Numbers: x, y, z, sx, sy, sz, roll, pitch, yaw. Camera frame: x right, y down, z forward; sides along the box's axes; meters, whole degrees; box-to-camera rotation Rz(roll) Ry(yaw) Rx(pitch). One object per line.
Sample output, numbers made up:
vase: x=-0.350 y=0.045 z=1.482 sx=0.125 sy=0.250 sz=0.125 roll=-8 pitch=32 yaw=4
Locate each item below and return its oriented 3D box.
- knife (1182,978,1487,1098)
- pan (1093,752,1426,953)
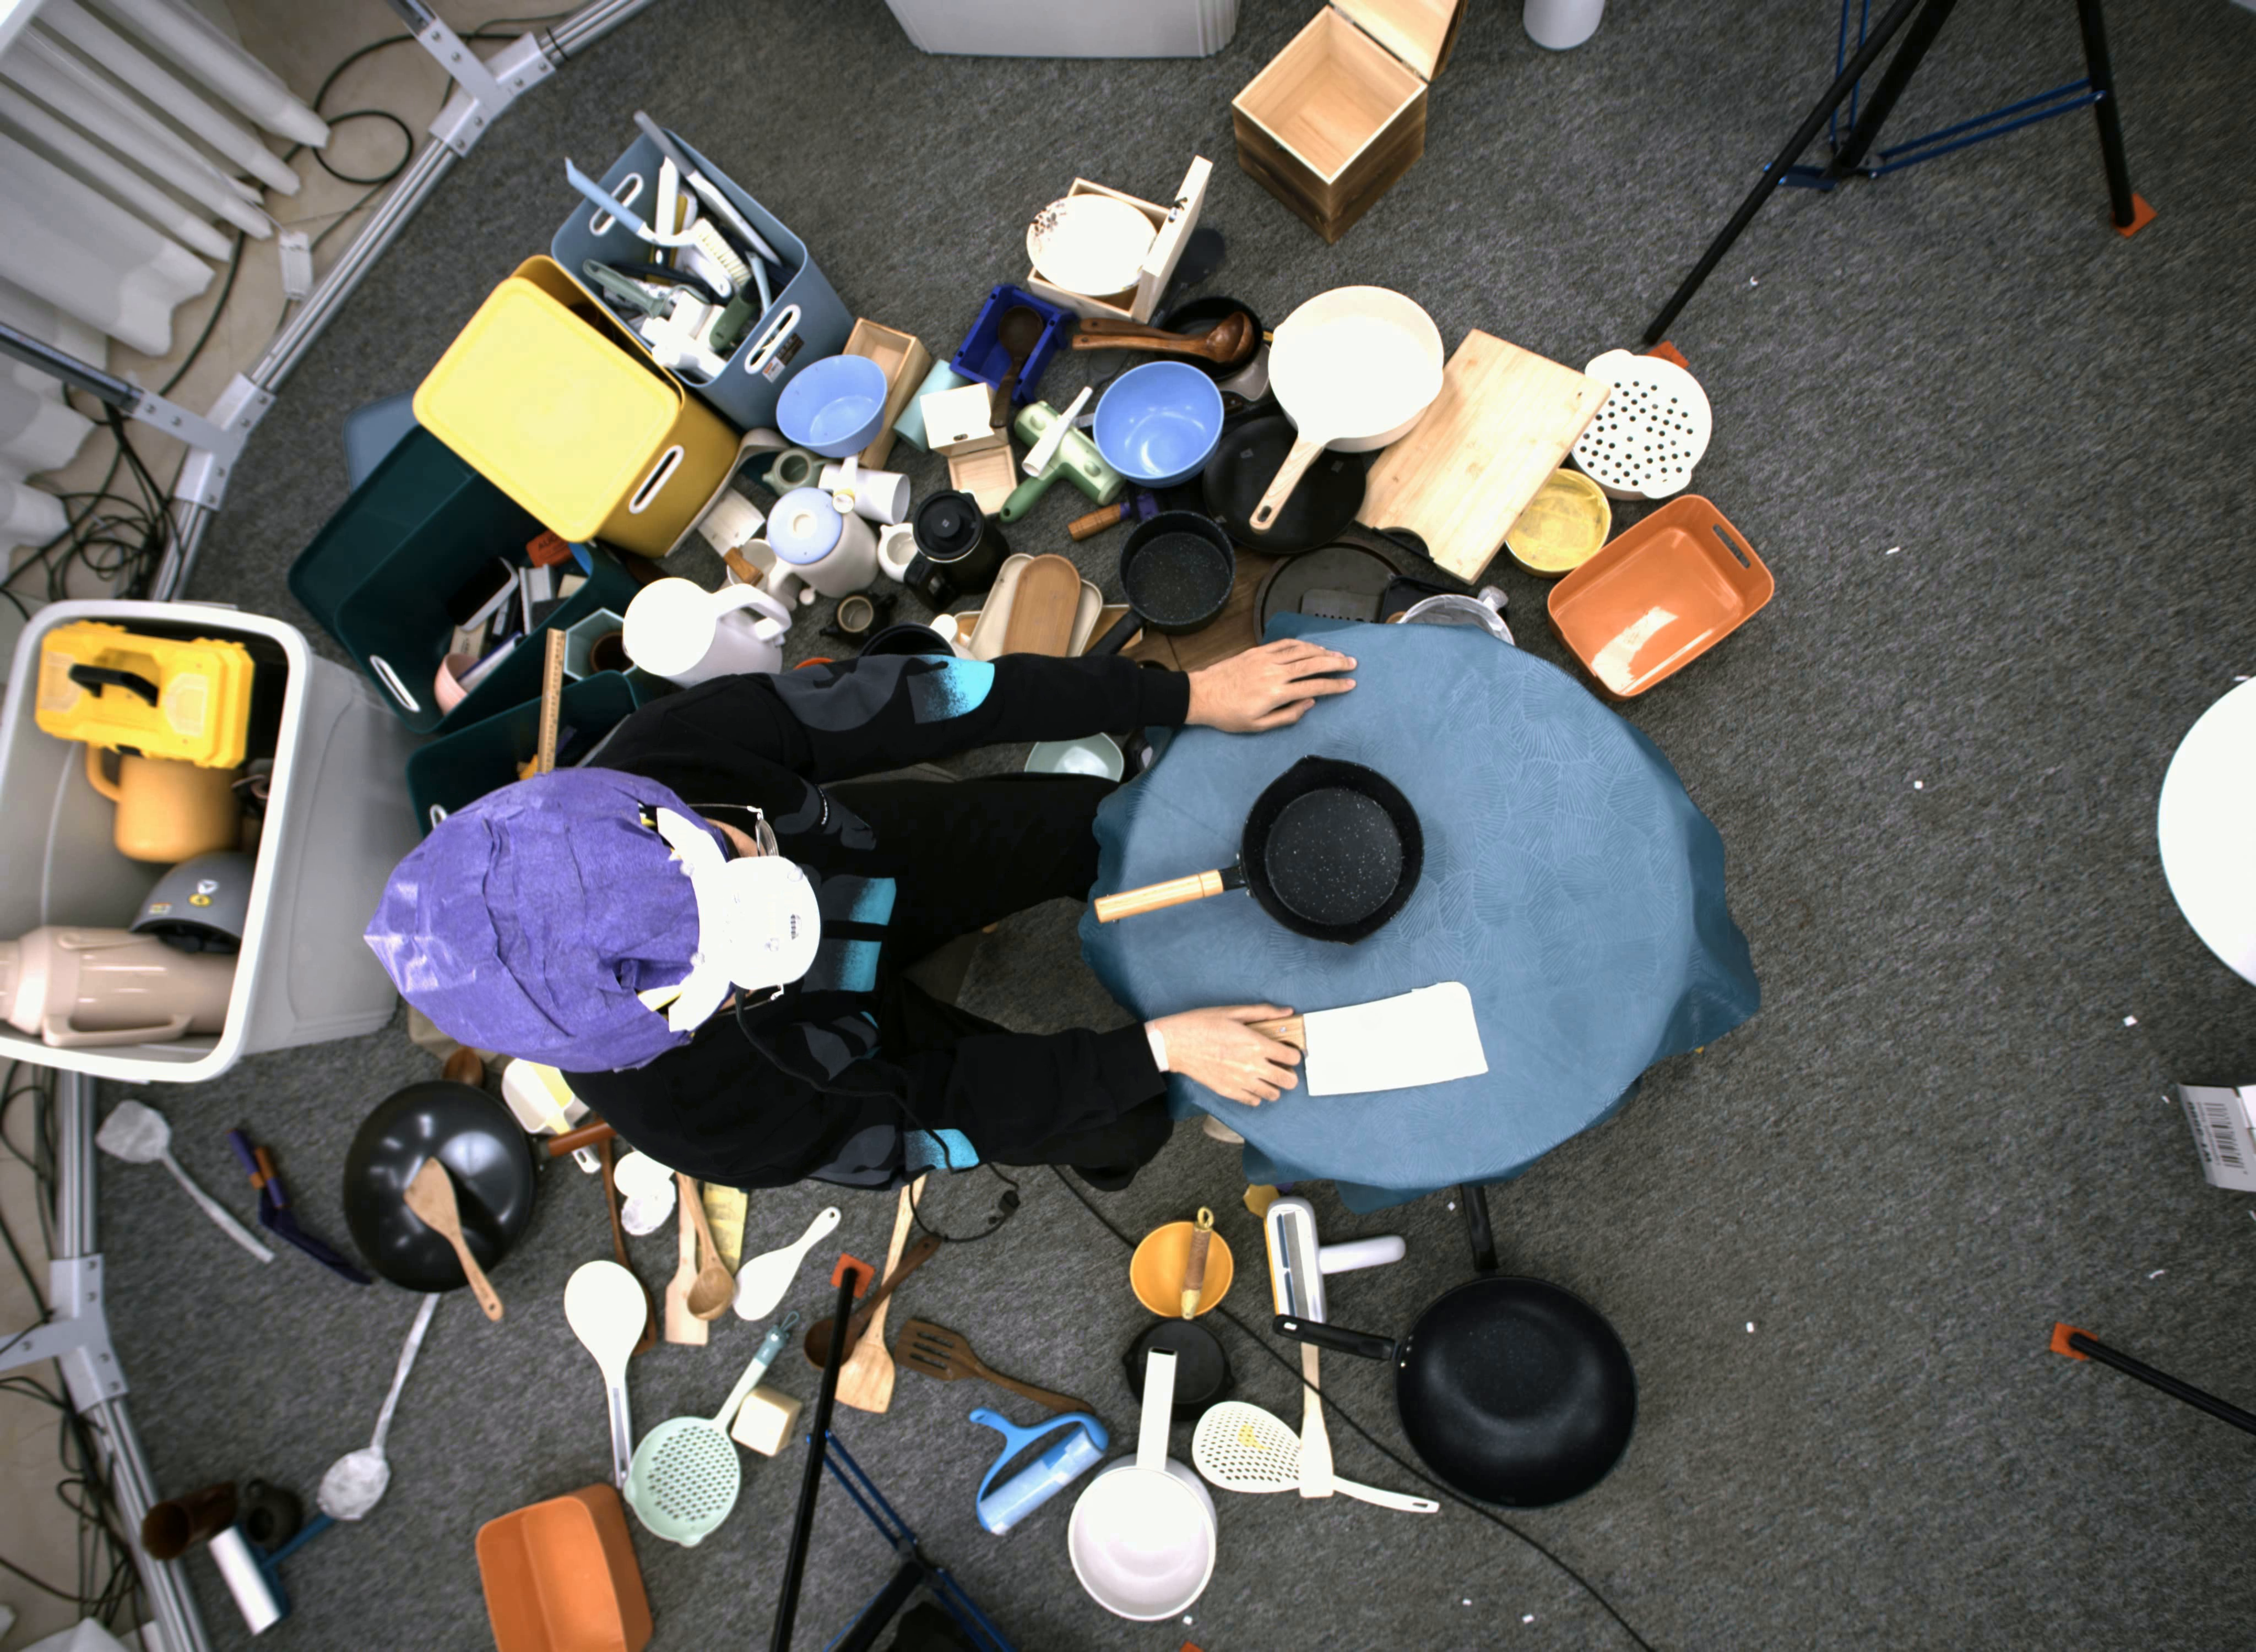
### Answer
knife: x=0.213 y=0.225 z=1.453 sx=0.316 sy=0.022 sz=0.113 roll=-6 pitch=86 yaw=8
pan: x=0.135 y=0.049 z=1.431 sx=0.344 sy=0.108 sz=0.206 roll=-17 pitch=84 yaw=8
